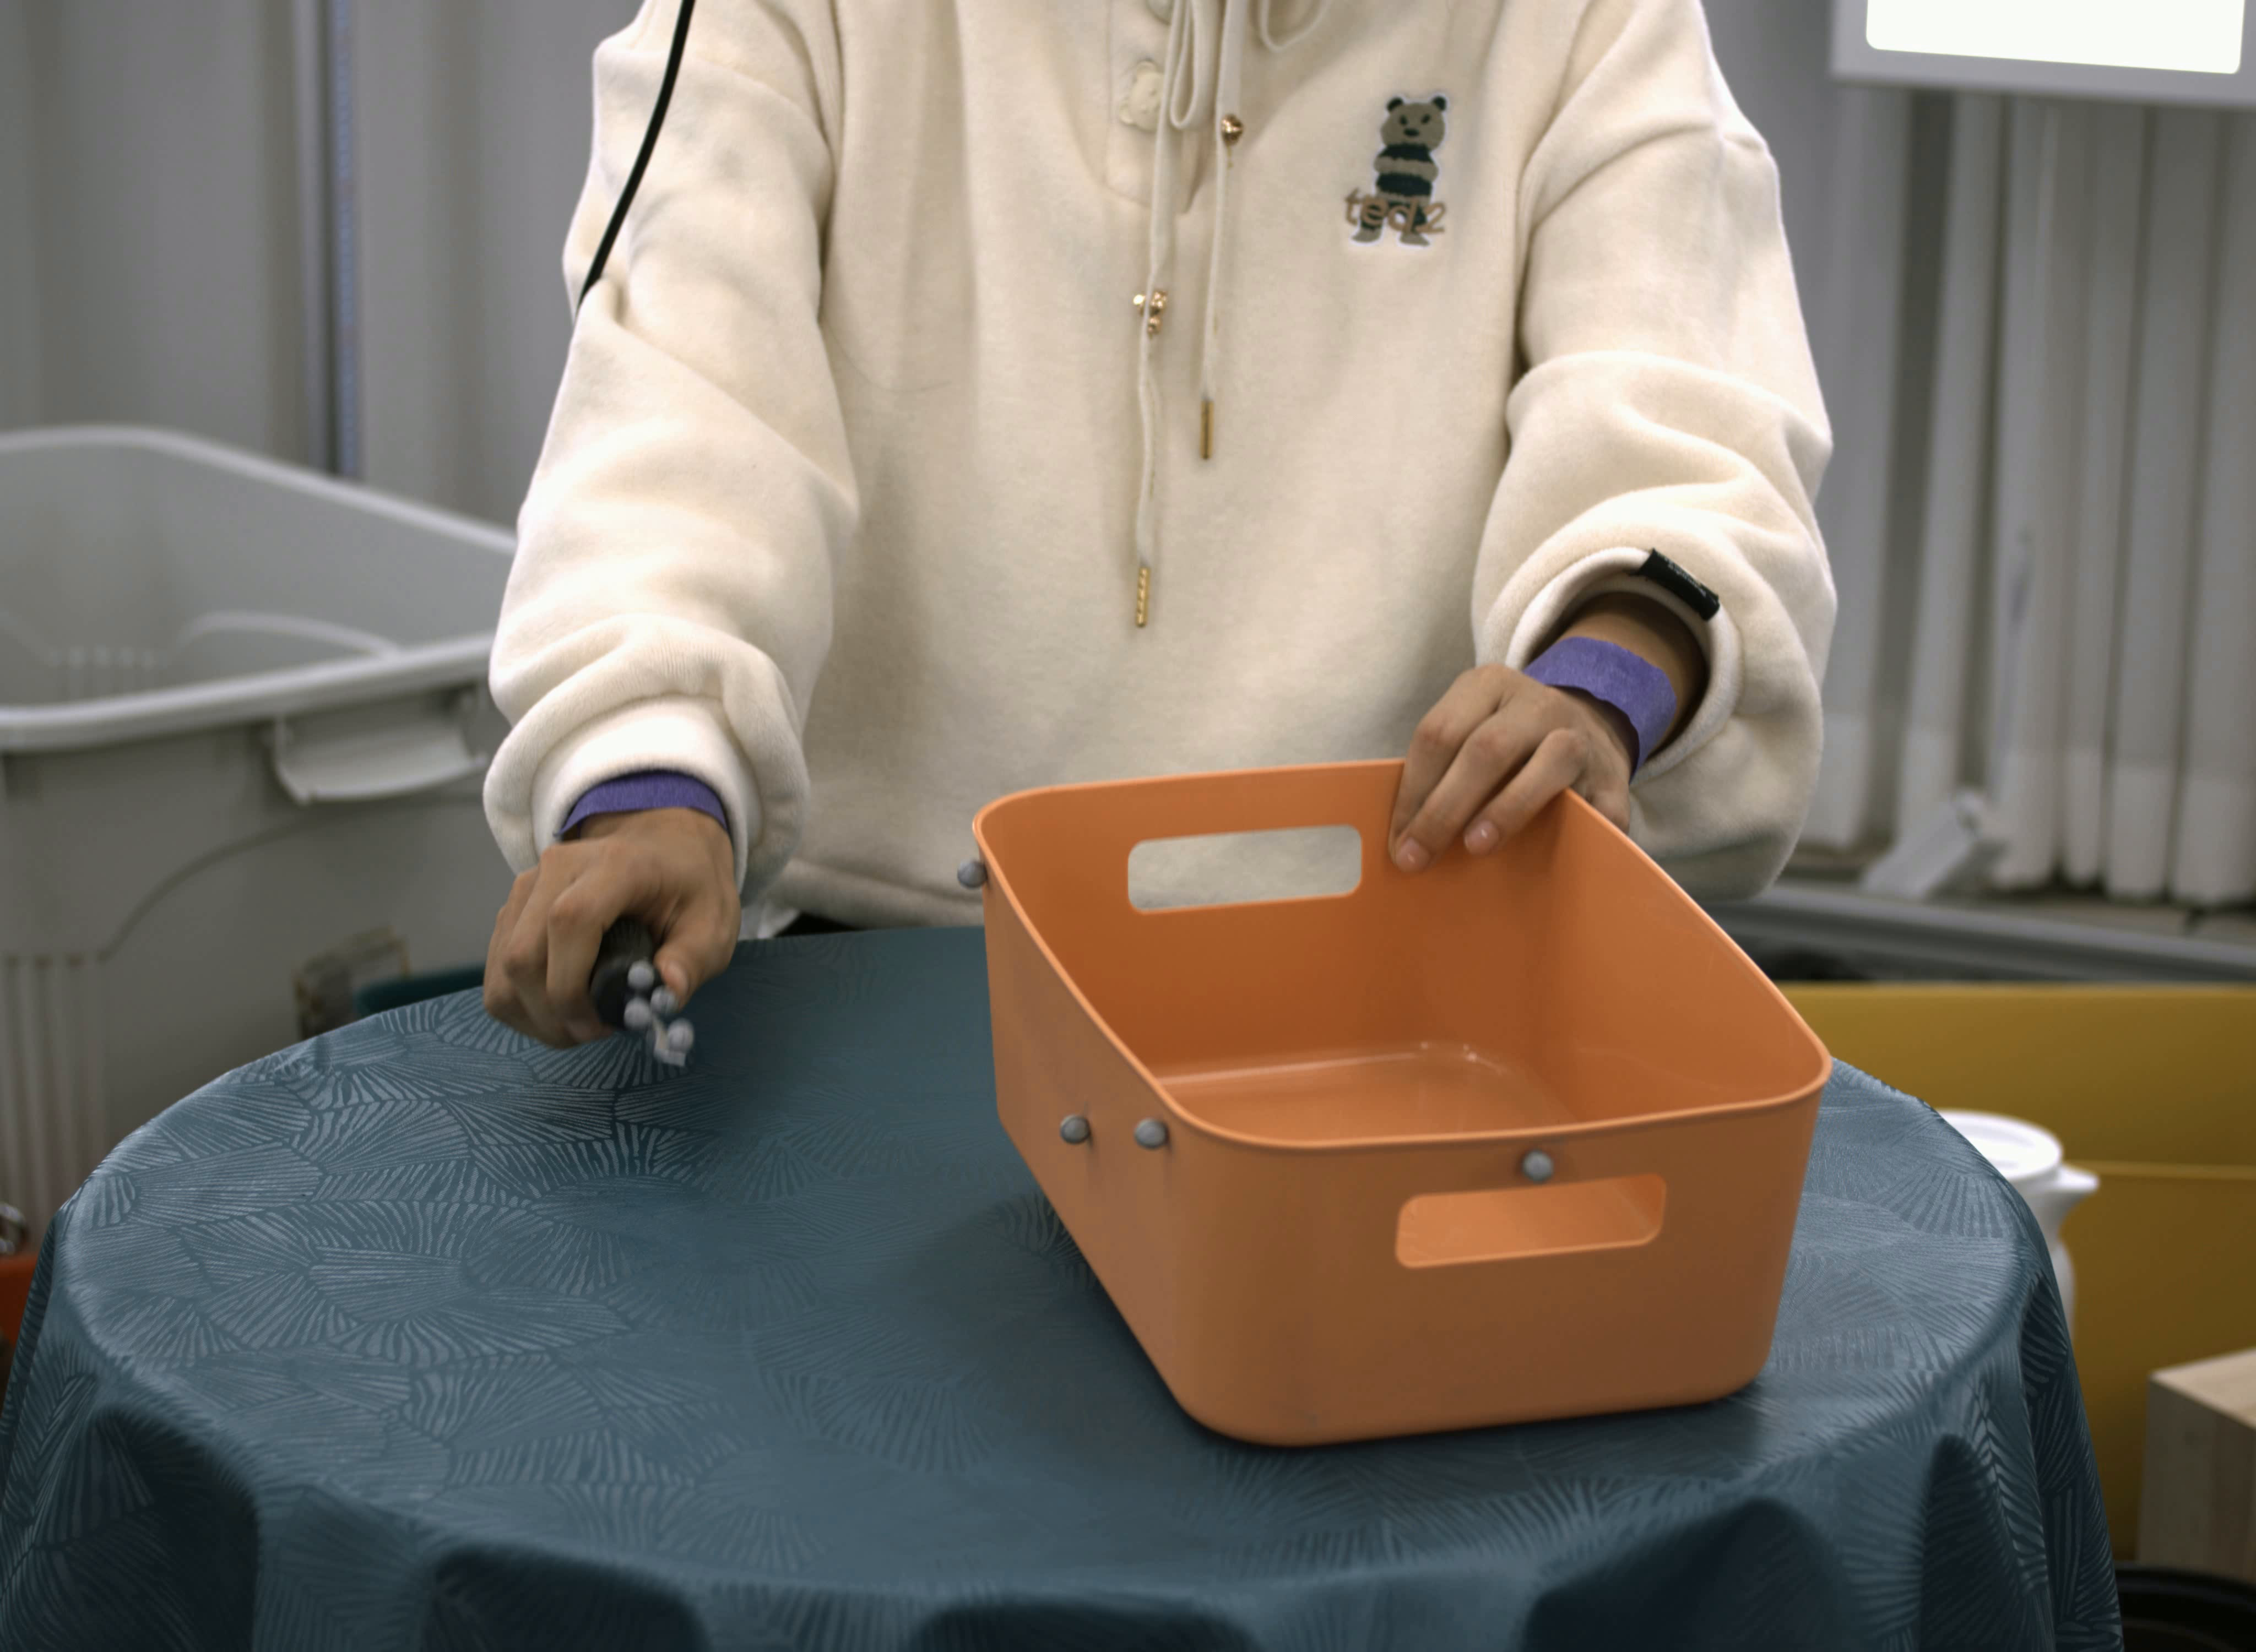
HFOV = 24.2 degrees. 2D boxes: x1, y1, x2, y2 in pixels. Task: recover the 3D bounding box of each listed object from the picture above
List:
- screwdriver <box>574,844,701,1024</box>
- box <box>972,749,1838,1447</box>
[{"bbox_3d":[-0.144,0.037,1.620,0.031,0.032,0.196,-4,14,-15],"label":"screwdriver"},{"bbox_3d":[0.073,0.075,1.519,0.200,0.103,0.270,-5,23,-16],"label":"box"}]
